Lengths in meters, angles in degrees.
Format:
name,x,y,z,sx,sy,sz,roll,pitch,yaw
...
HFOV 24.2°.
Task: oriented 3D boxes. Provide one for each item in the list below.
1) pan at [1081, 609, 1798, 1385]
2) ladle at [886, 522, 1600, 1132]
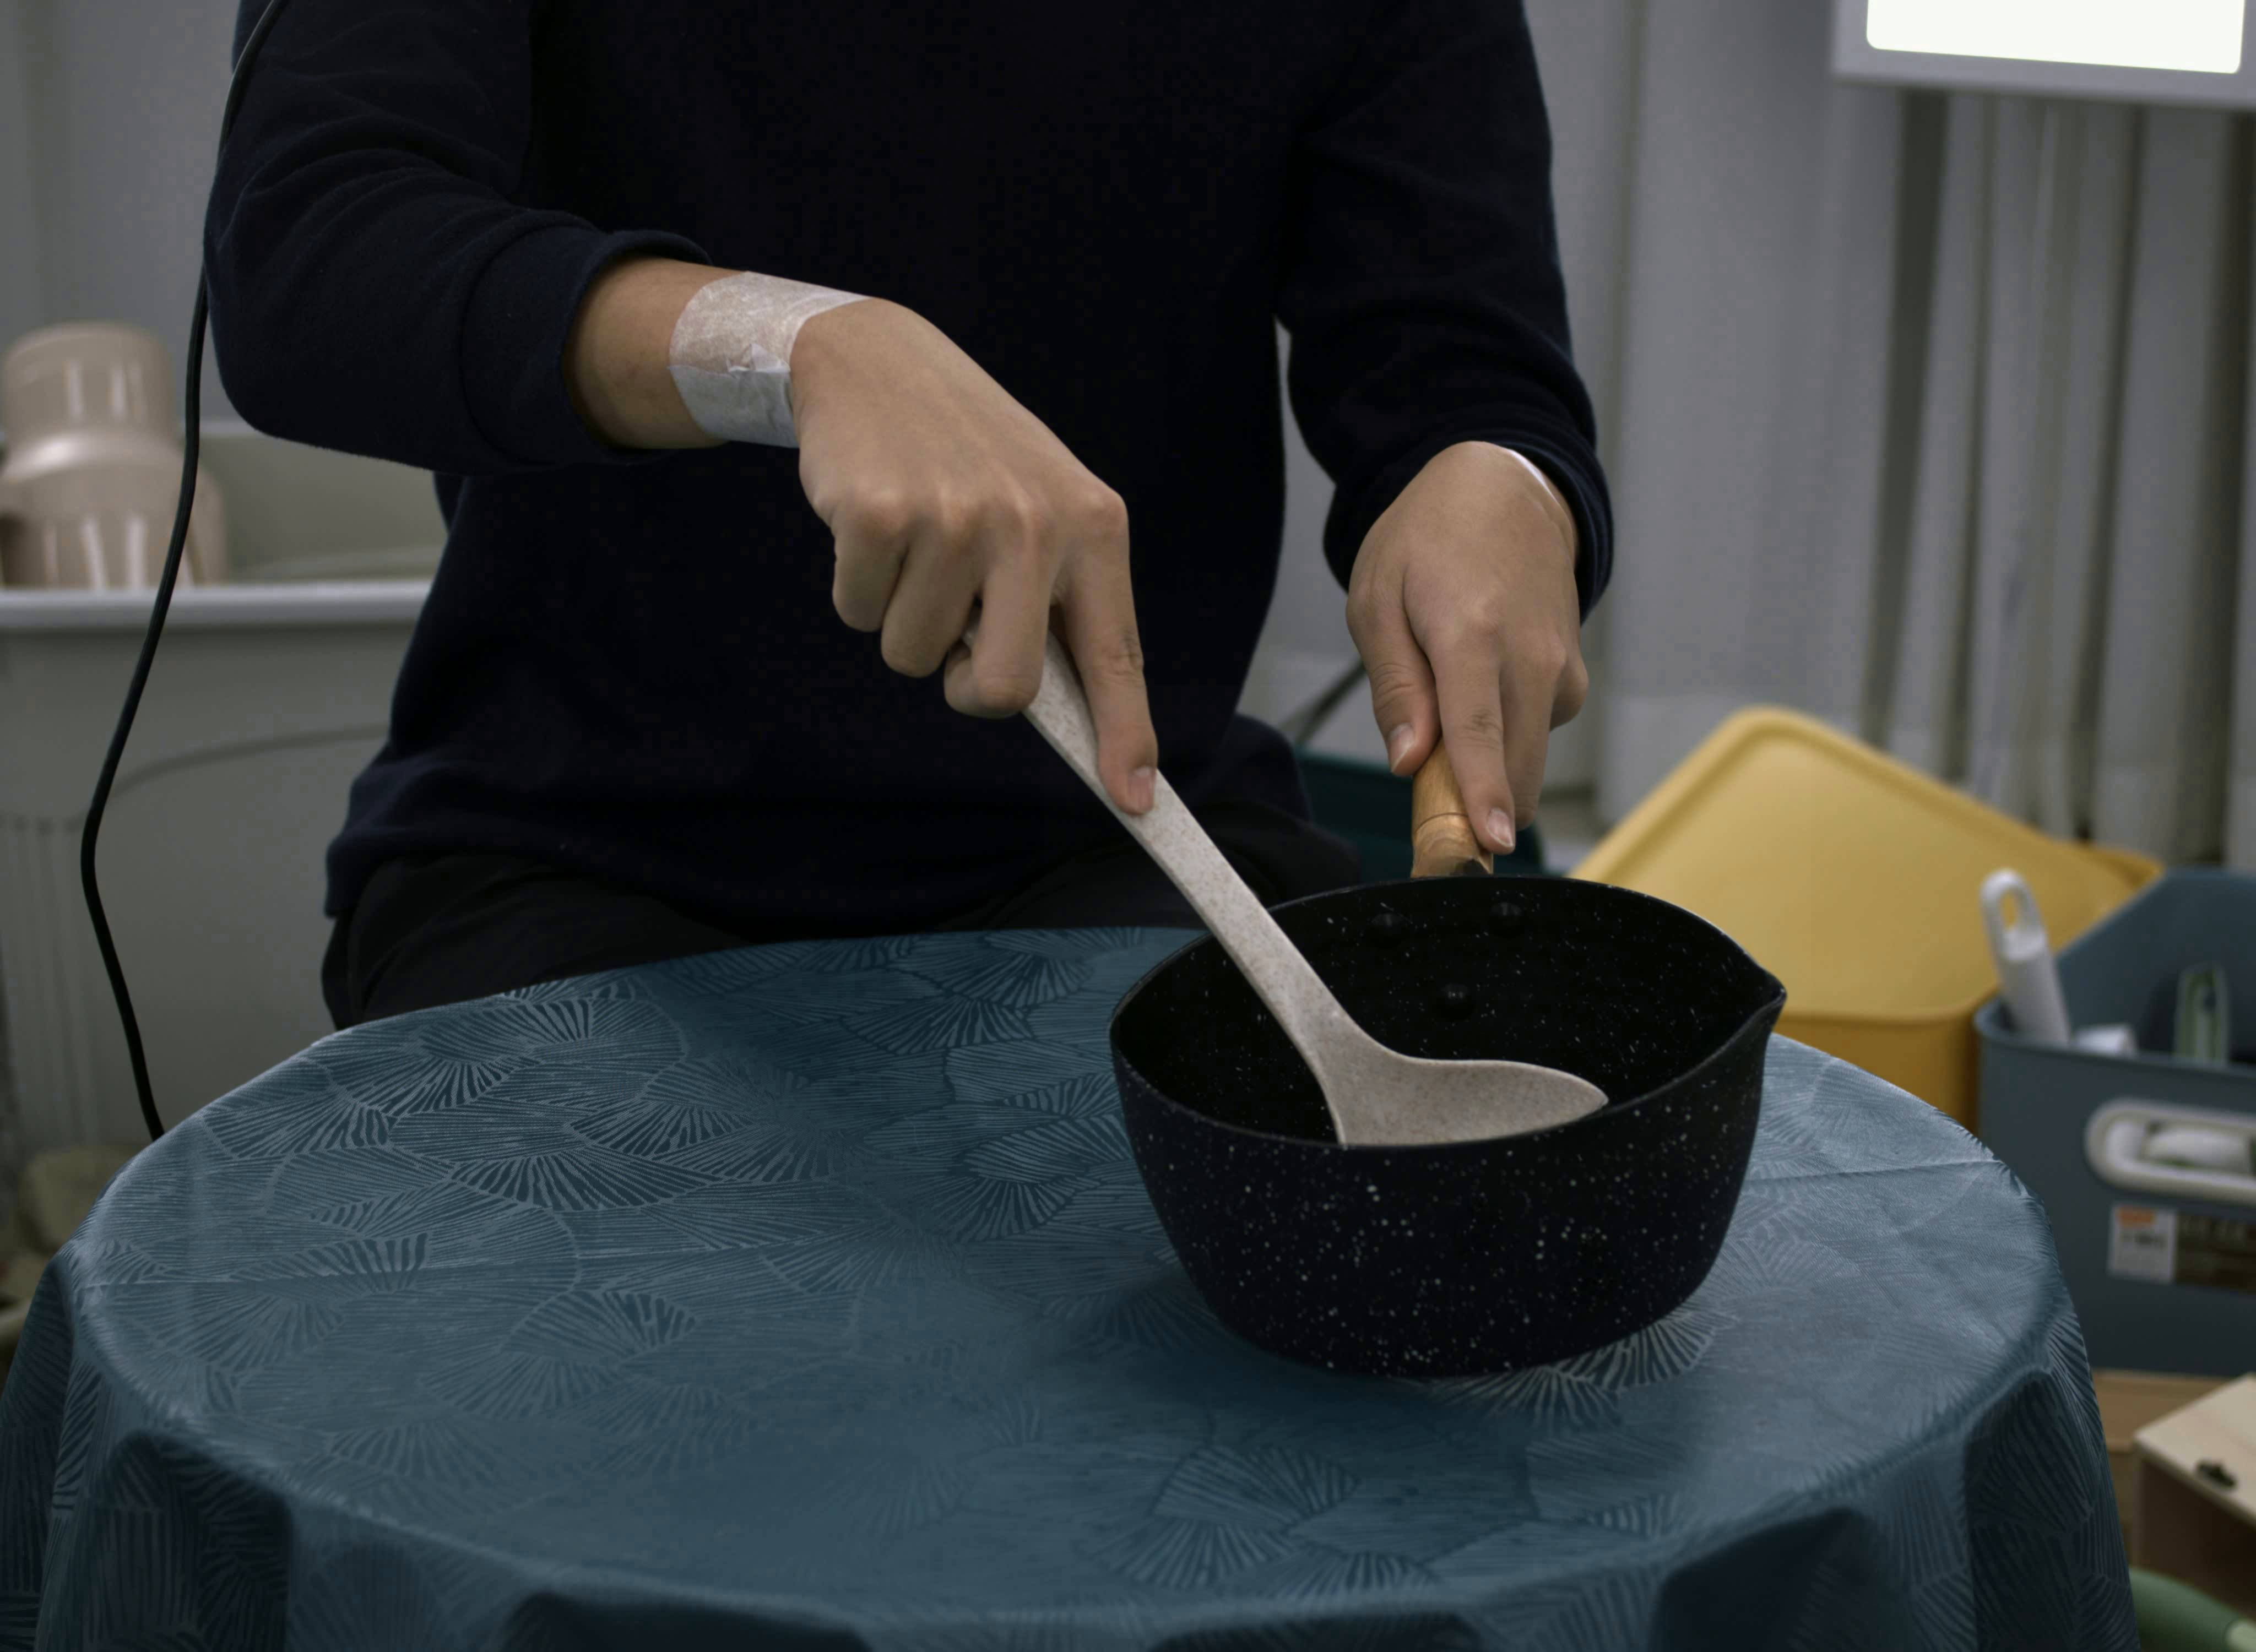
name,x,y,z,sx,sy,sz,roll,pitch,yaw
pan,0.096,0.046,1.585,0.206,0.109,0.340,-5,24,6
ladle,0.033,0.011,1.513,0.089,0.276,0.069,-42,6,-35
